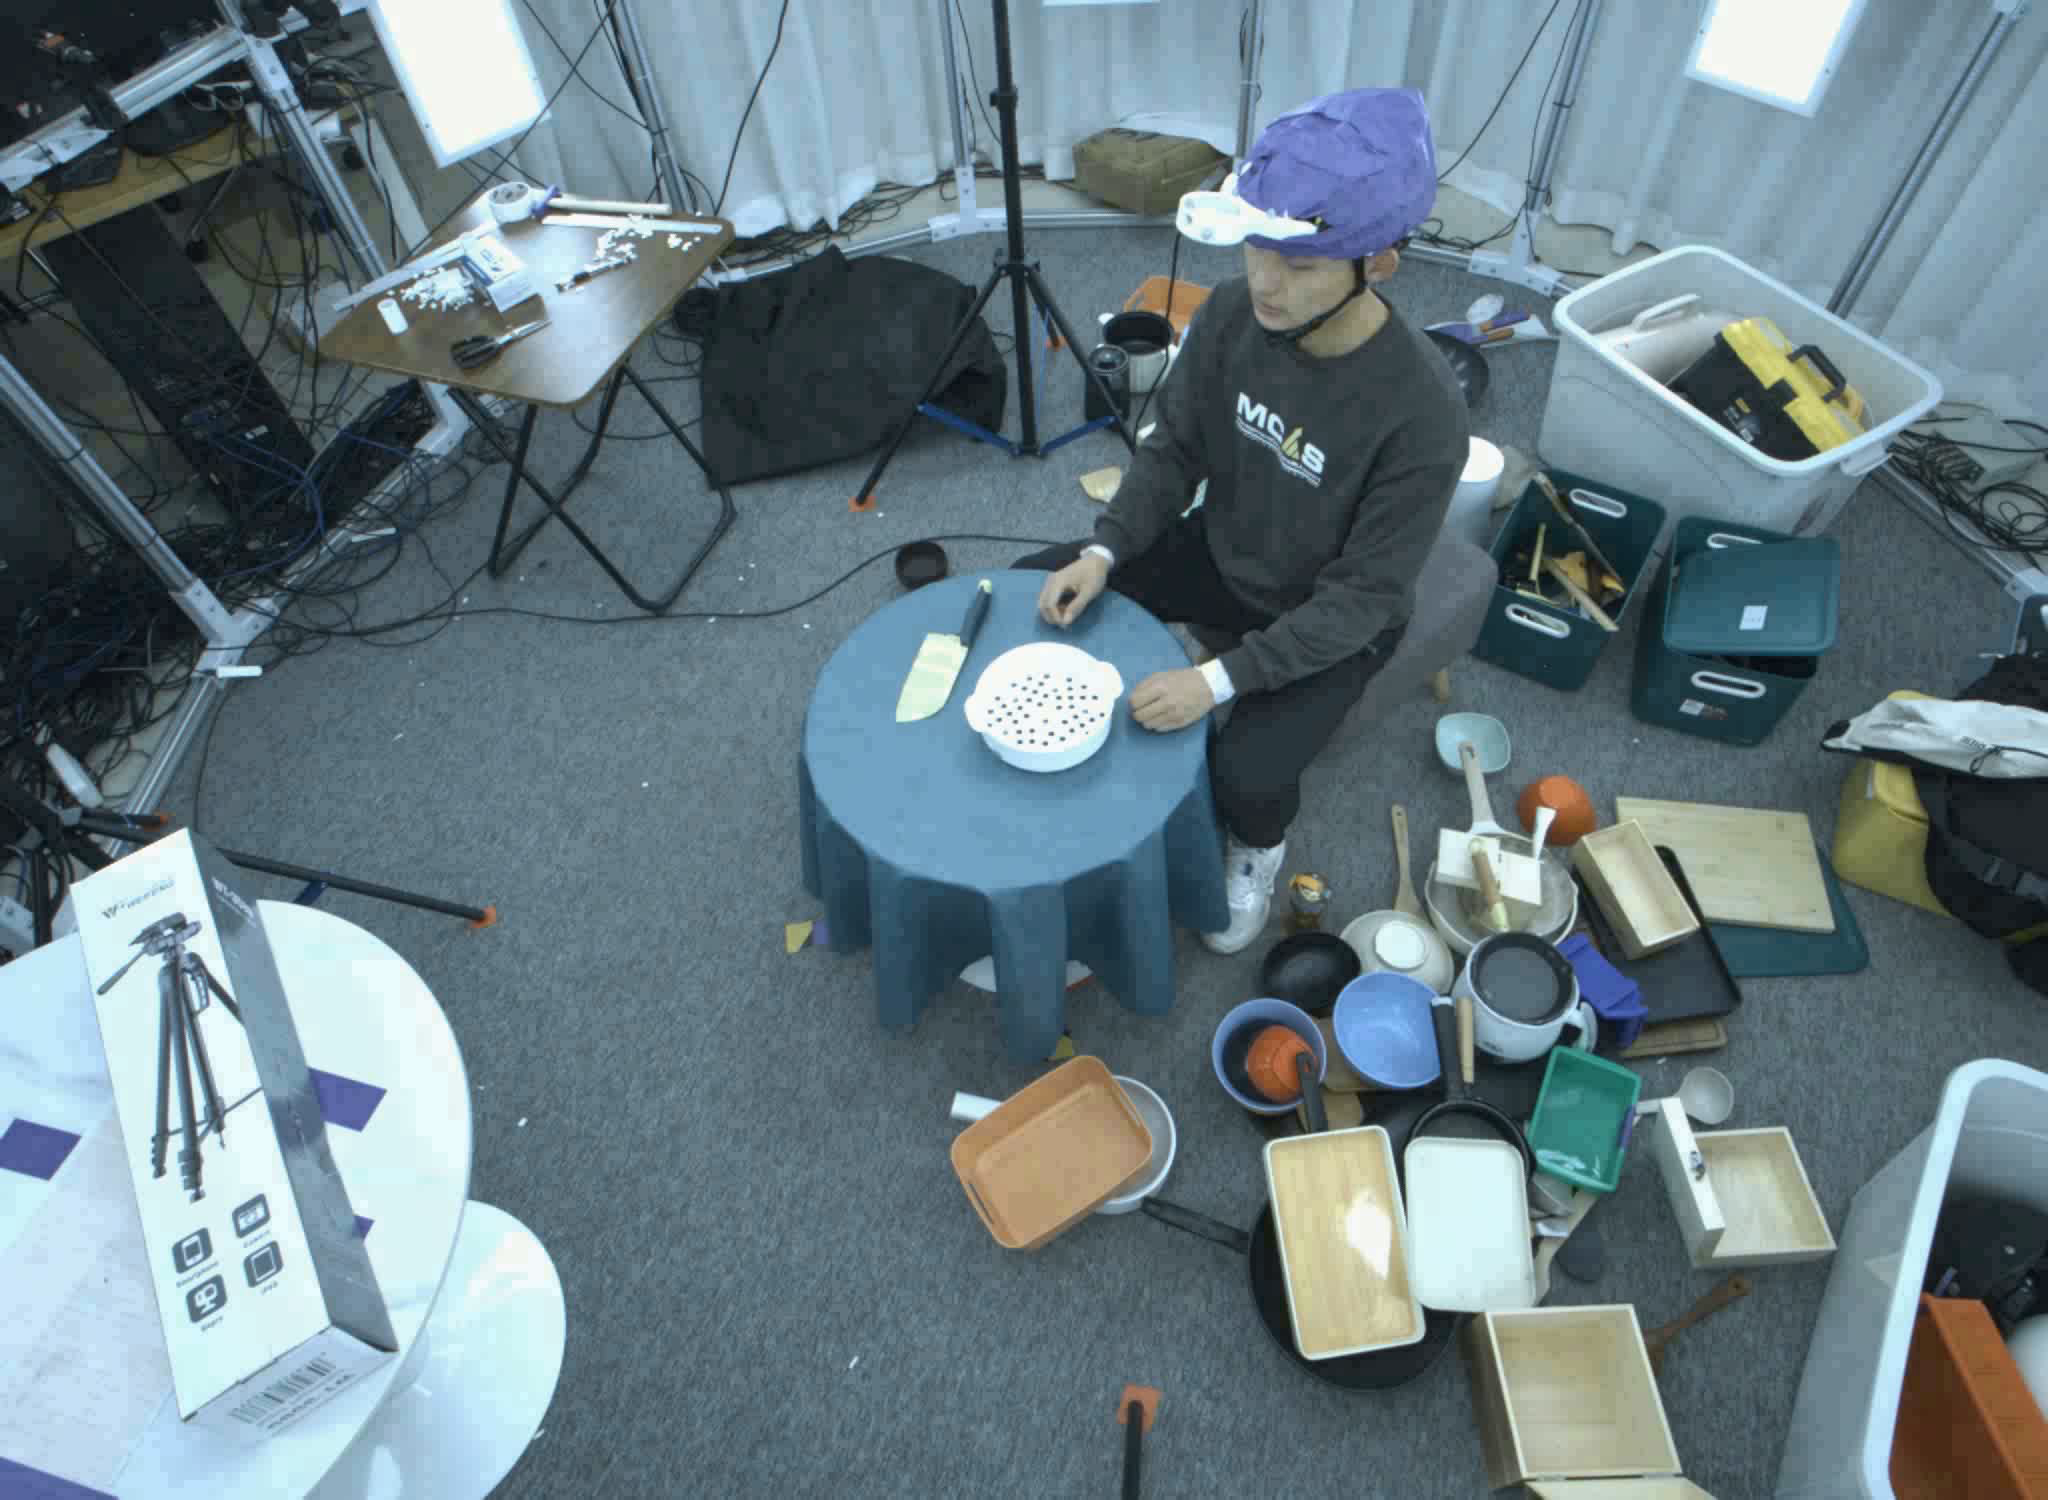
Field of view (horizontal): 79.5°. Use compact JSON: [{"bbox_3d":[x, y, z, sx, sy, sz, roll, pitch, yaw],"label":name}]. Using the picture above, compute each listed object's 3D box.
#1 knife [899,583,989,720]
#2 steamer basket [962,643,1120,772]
[{"bbox_3d":[-0.122,-0.156,1.900,0.080,0.027,0.289,17,58,11],"label":"knife"},{"bbox_3d":[0.025,-0.060,1.796,0.232,0.070,0.198,-13,56,-10],"label":"steamer basket"}]
